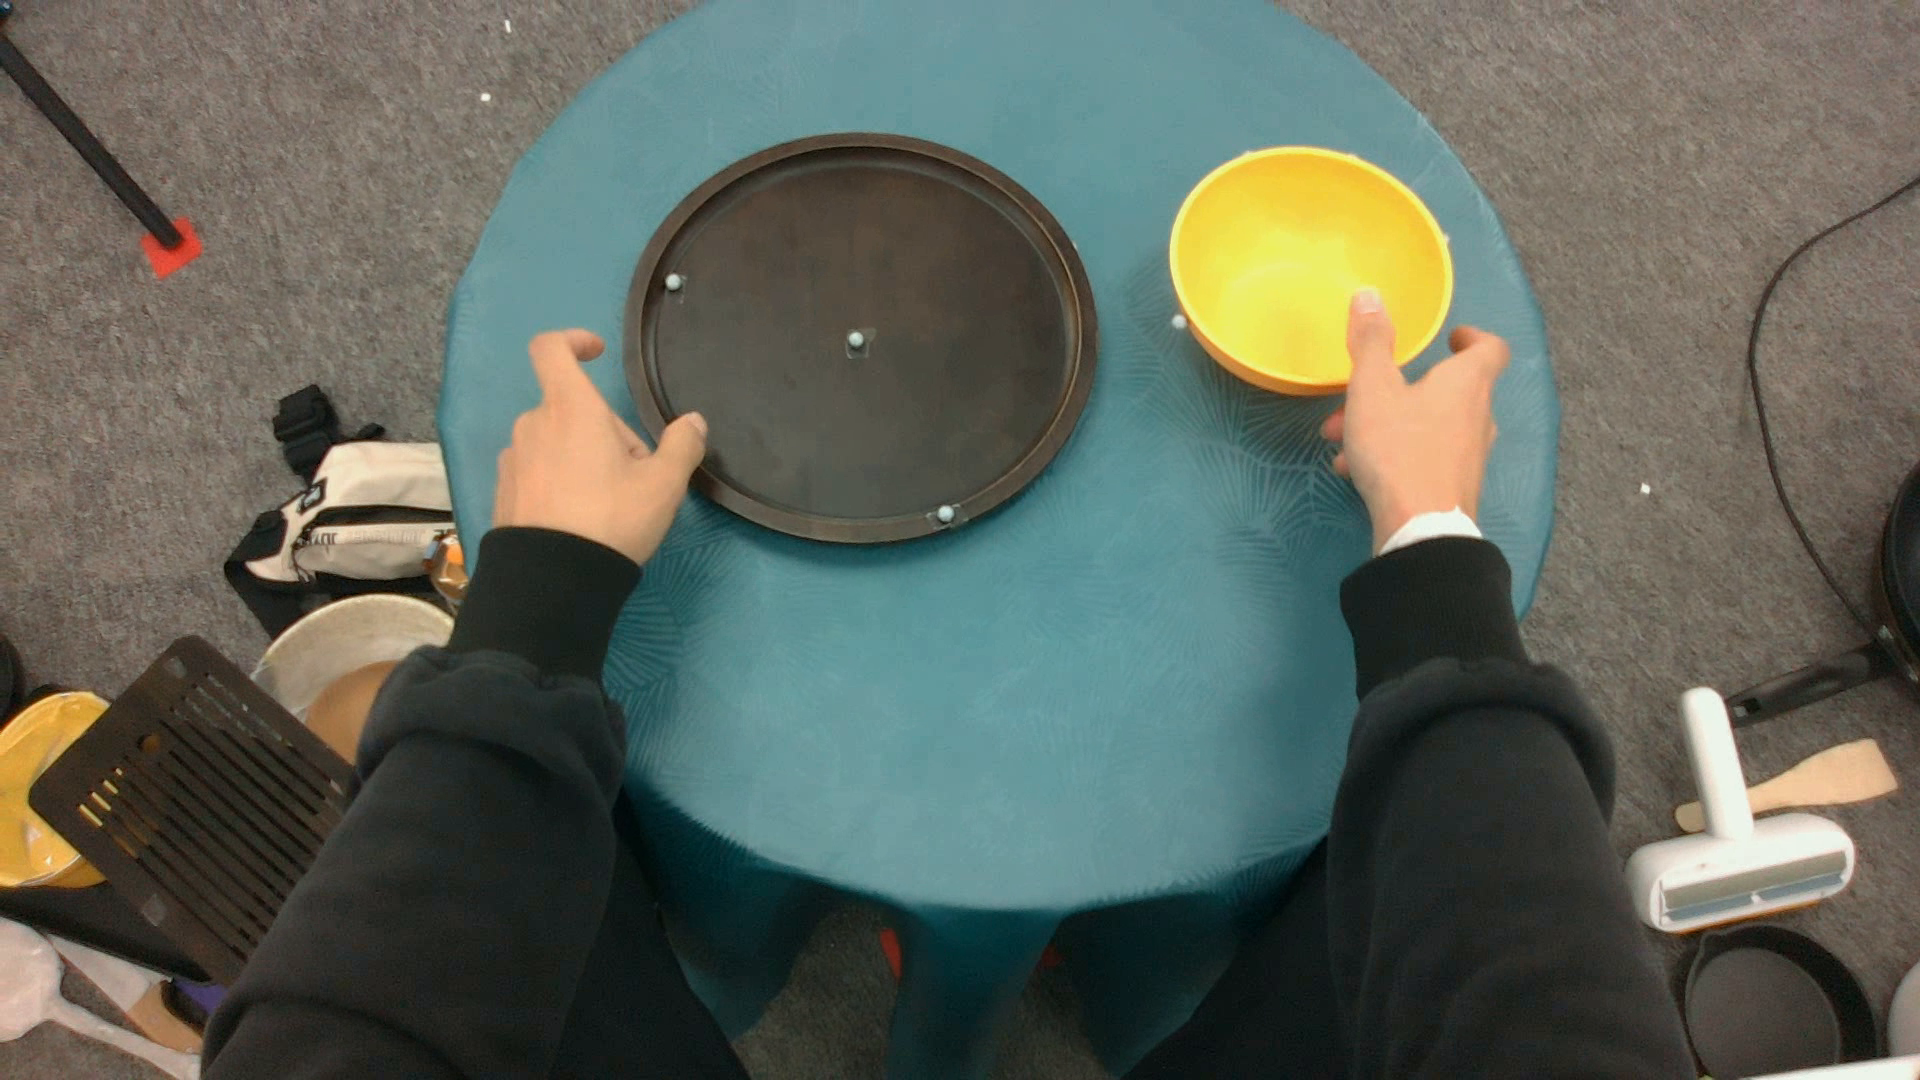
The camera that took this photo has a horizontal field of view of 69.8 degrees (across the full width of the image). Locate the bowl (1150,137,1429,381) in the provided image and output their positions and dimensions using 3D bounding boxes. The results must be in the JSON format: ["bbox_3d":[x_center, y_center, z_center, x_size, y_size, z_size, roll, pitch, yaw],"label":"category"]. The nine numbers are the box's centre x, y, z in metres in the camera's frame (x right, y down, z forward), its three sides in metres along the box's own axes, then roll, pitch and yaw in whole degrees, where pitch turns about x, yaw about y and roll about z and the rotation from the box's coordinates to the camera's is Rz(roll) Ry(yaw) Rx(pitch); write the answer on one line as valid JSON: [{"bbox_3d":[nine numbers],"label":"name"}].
[{"bbox_3d":[0.171,-0.140,0.741,0.145,0.060,0.146,0,68,-1],"label":"bowl"}]

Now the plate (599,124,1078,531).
[{"bbox_3d":[-0.063,-0.118,0.737,0.255,0.029,0.255,2,67,-4],"label":"plate"}]
